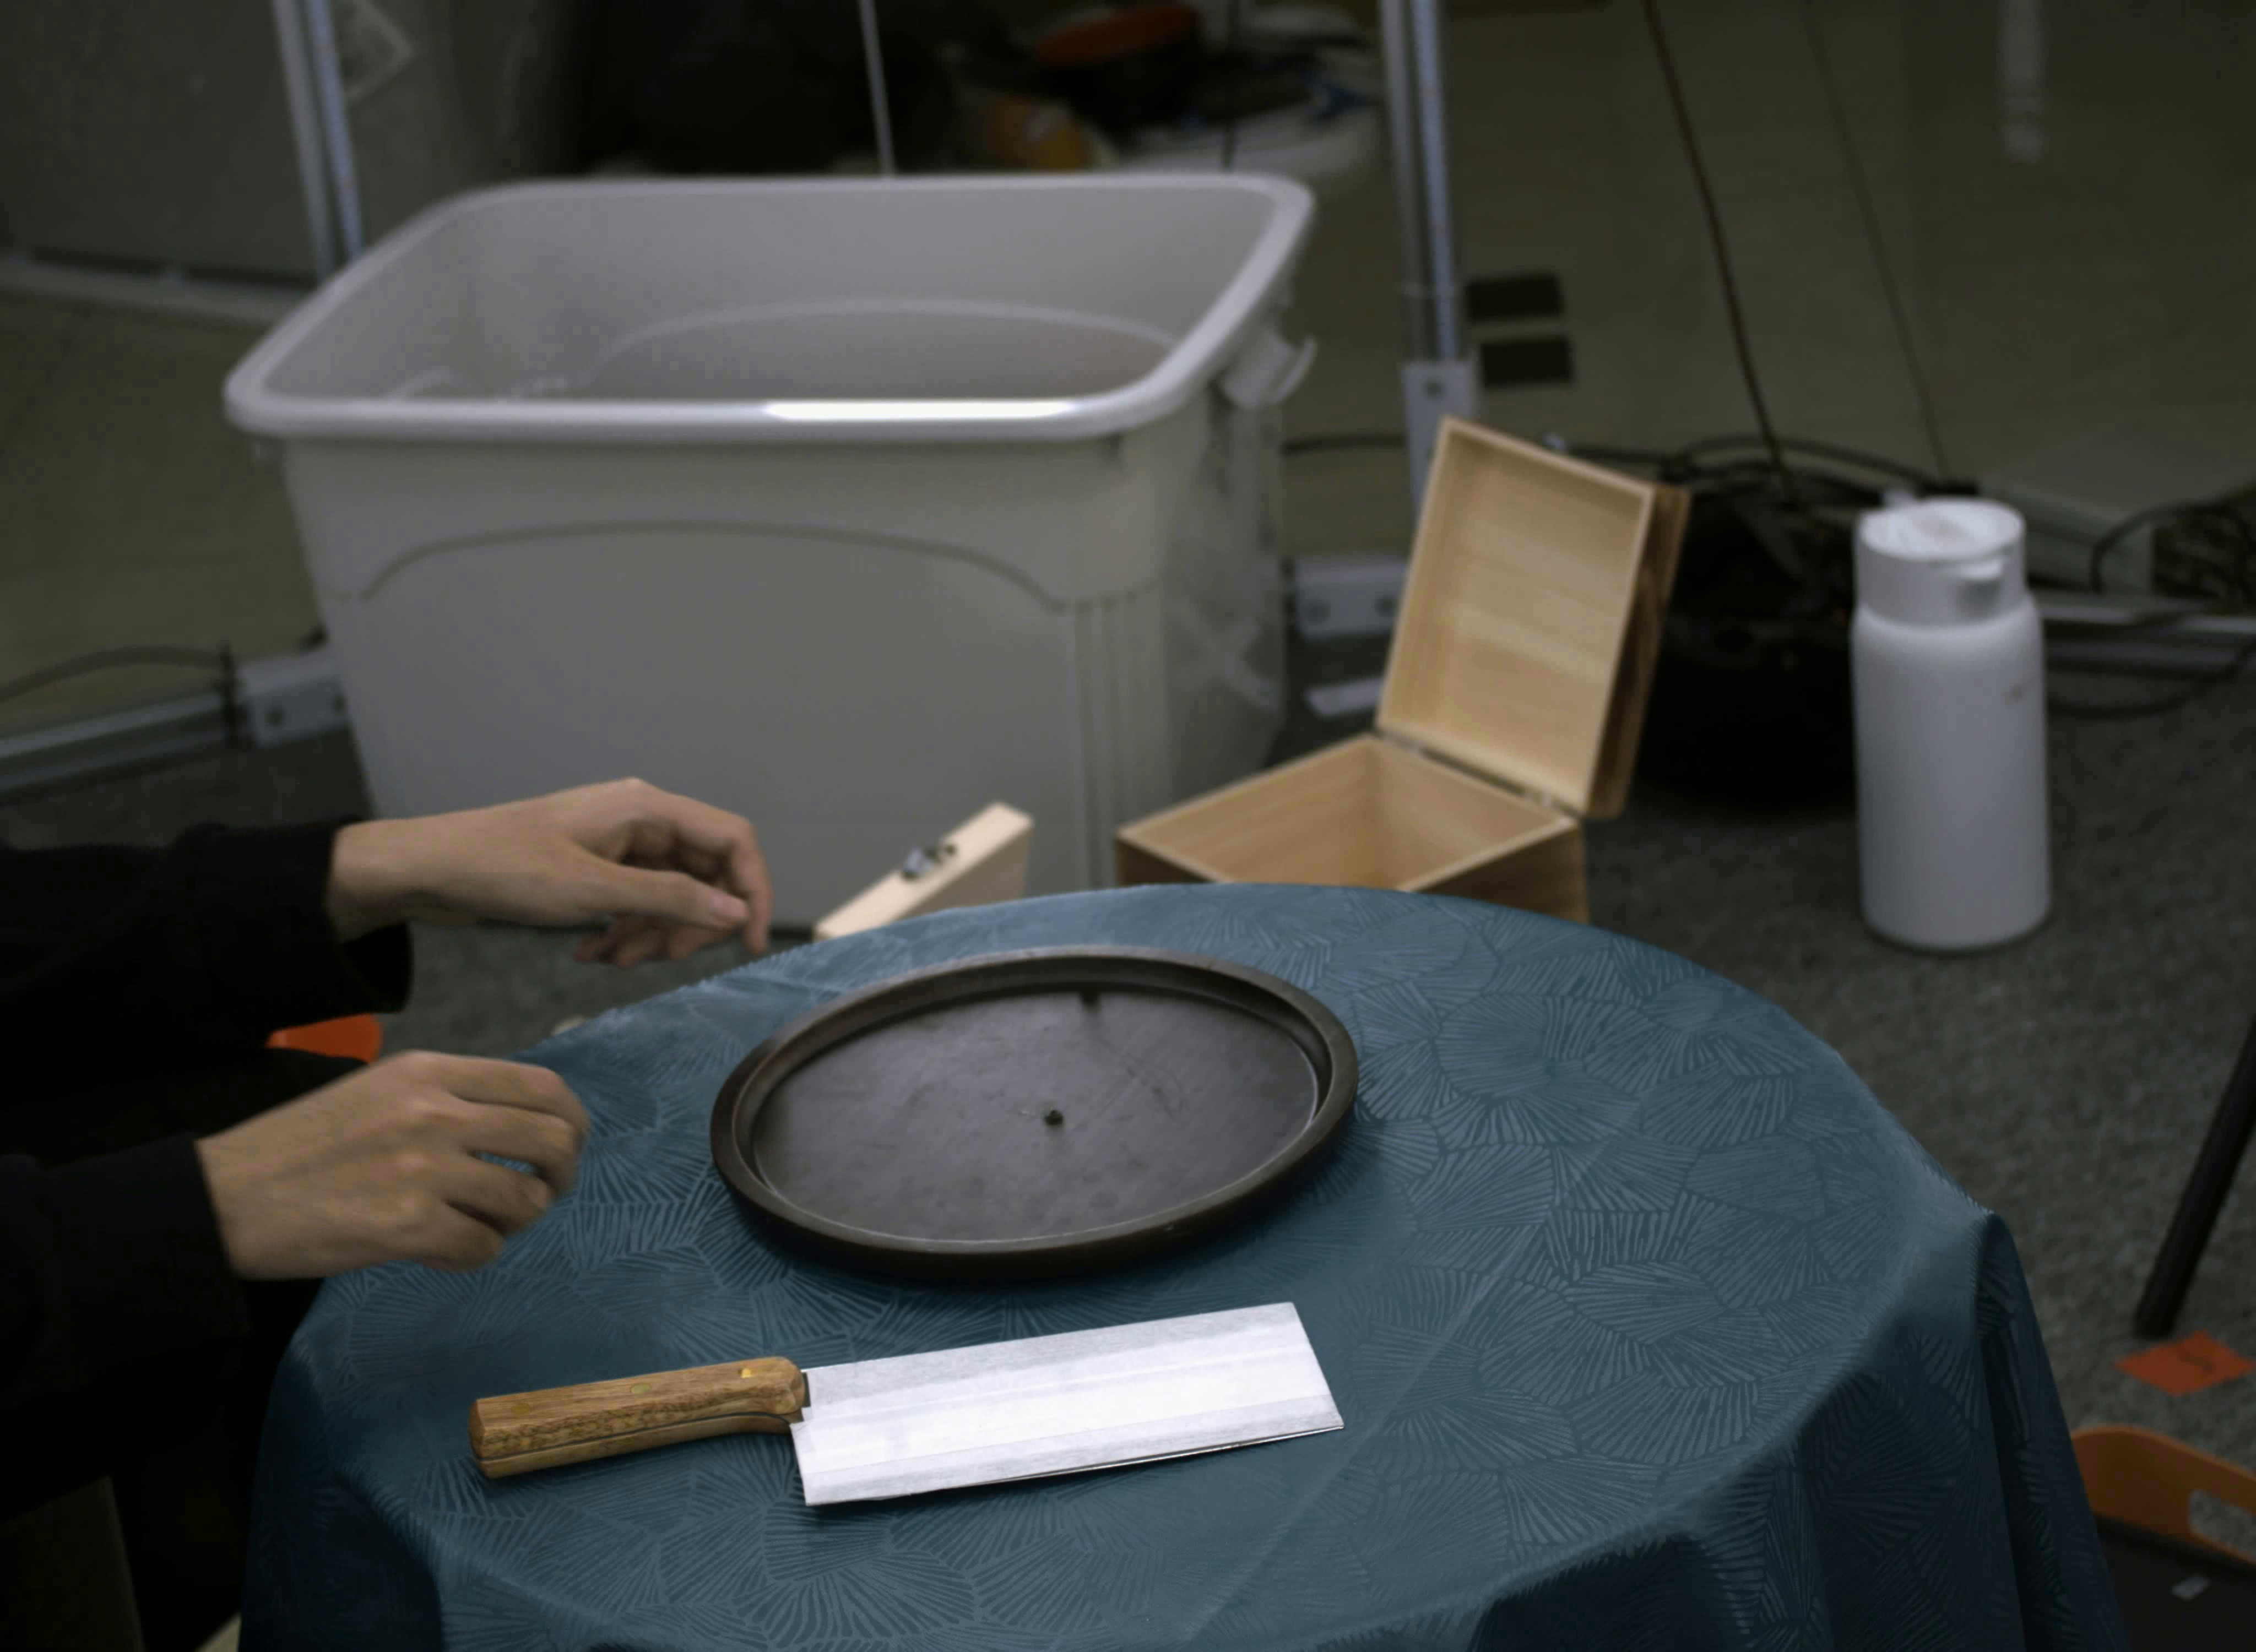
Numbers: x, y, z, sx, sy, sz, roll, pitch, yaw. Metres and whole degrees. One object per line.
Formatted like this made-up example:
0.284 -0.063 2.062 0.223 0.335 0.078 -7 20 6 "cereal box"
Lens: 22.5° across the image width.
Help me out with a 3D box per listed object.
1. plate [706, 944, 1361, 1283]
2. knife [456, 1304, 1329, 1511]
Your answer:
-0.036 0.110 2.188 0.254 0.029 0.251 -5 24 2 "plate"
-0.082 0.210 1.998 0.305 0.021 0.091 -7 26 -8 "knife"
